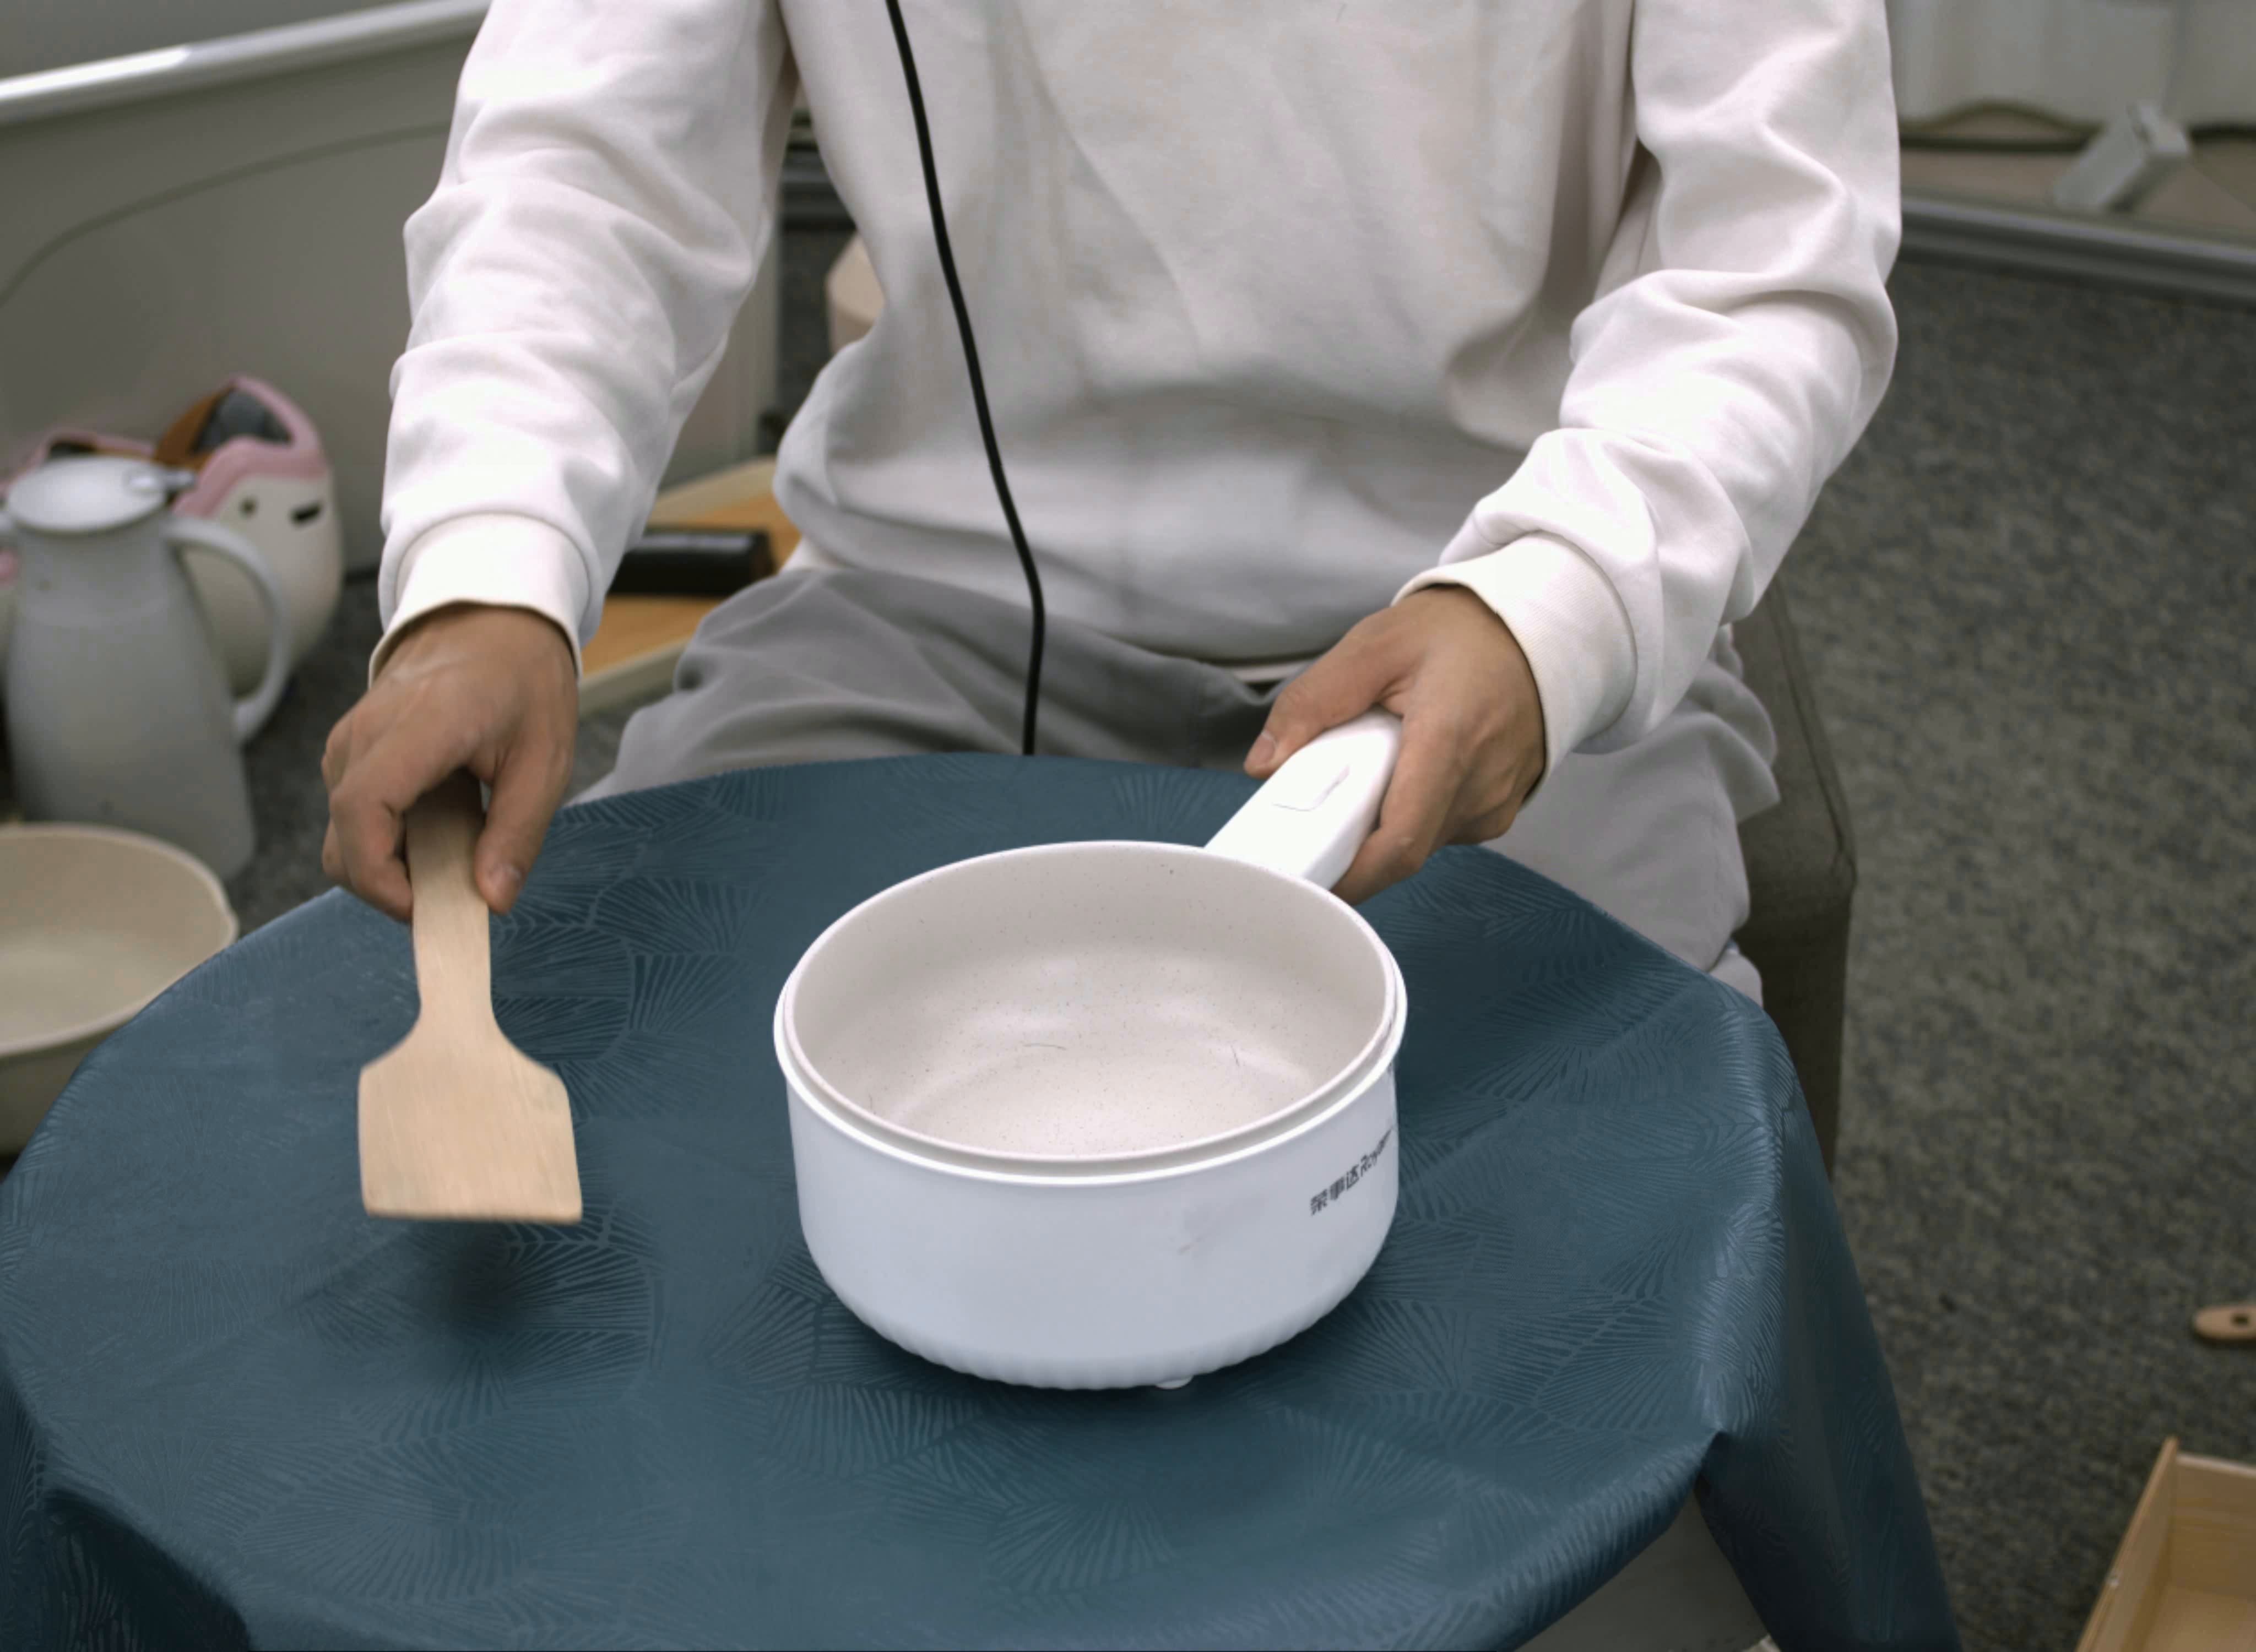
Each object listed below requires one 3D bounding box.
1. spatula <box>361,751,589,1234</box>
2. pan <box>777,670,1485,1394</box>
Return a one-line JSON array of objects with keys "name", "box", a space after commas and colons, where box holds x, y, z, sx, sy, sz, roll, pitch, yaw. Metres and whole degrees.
[{"name": "spatula", "box": [-0.228, 0.053, 1.910, 0.072, 0.010, 0.297, 2, 31, -11]}, {"name": "pan", "box": [0.026, 0.065, 1.861, 0.200, 0.101, 0.361, 11, 30, 25]}]
